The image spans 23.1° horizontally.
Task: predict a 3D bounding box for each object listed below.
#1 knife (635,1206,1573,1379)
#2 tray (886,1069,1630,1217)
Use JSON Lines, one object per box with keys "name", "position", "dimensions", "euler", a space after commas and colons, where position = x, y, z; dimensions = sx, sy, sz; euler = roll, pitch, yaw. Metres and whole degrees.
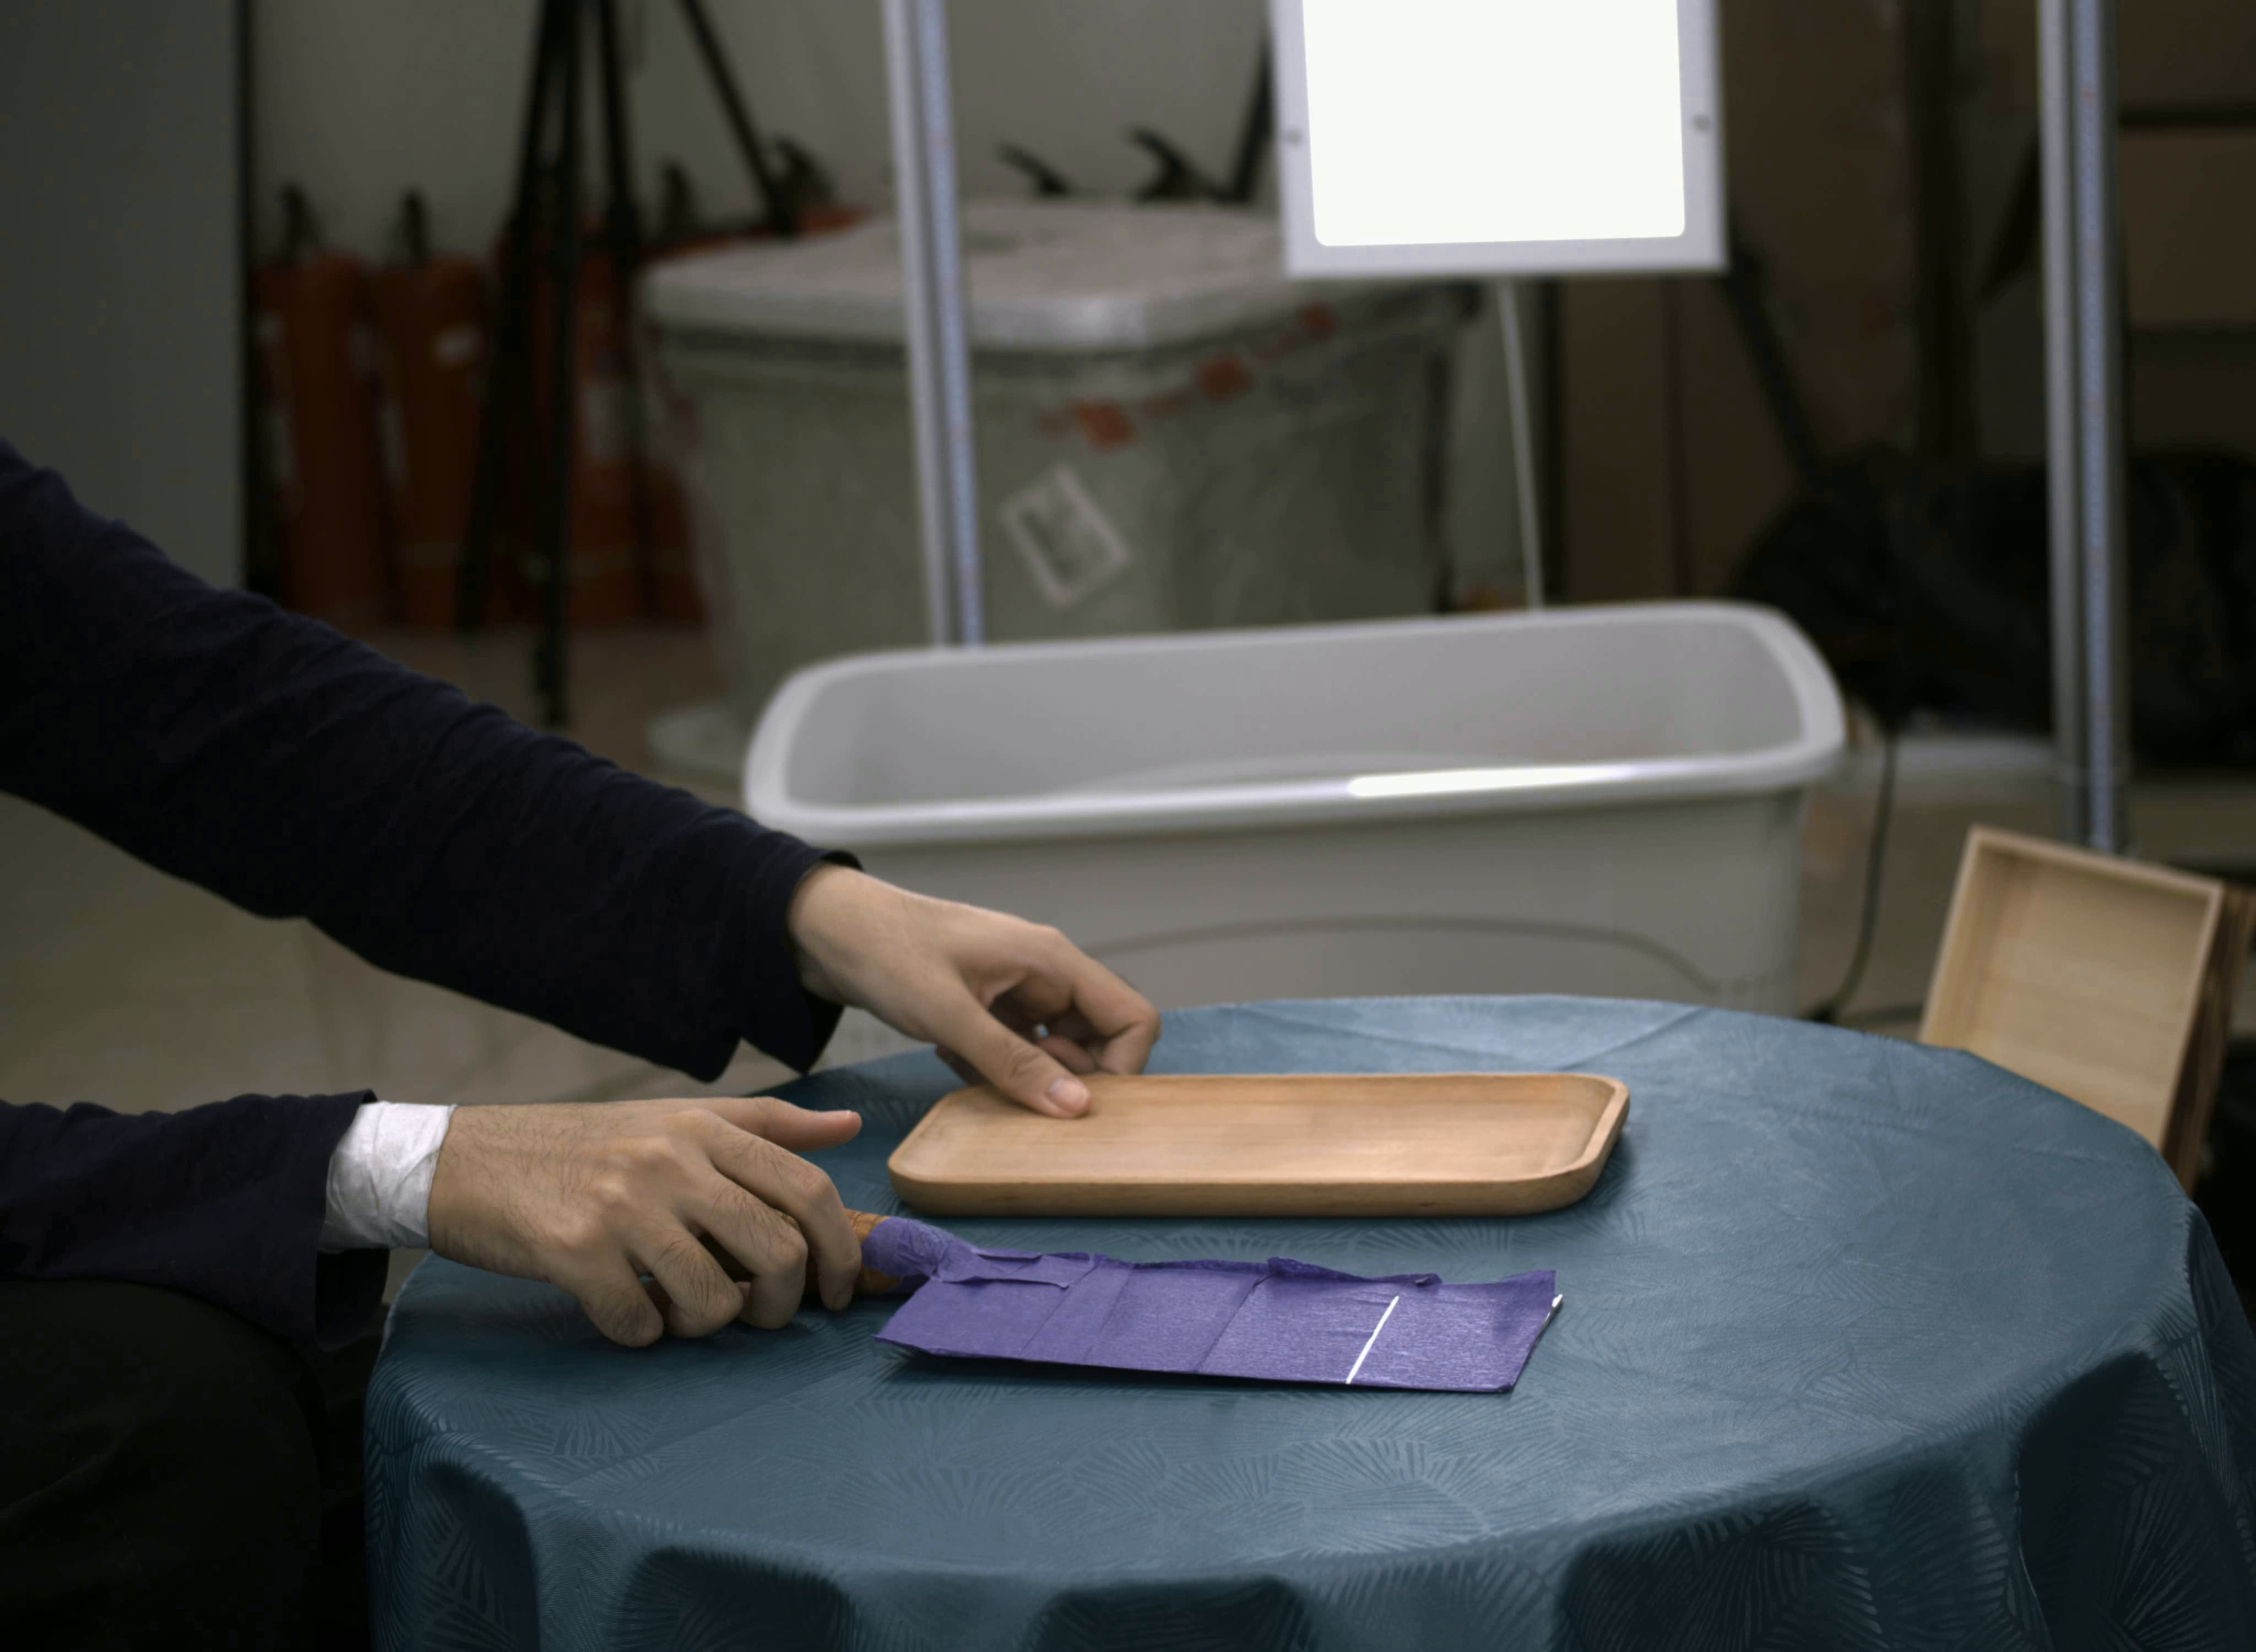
{"name": "knife", "position": [-0.019, 0.149, 1.761], "dimensions": [0.319, 0.032, 0.102], "euler": [0, 14, 19]}
{"name": "tray", "position": [0.046, 0.110, 1.920], "dimensions": [0.254, 0.023, 0.128], "euler": [-1, 12, 19]}
